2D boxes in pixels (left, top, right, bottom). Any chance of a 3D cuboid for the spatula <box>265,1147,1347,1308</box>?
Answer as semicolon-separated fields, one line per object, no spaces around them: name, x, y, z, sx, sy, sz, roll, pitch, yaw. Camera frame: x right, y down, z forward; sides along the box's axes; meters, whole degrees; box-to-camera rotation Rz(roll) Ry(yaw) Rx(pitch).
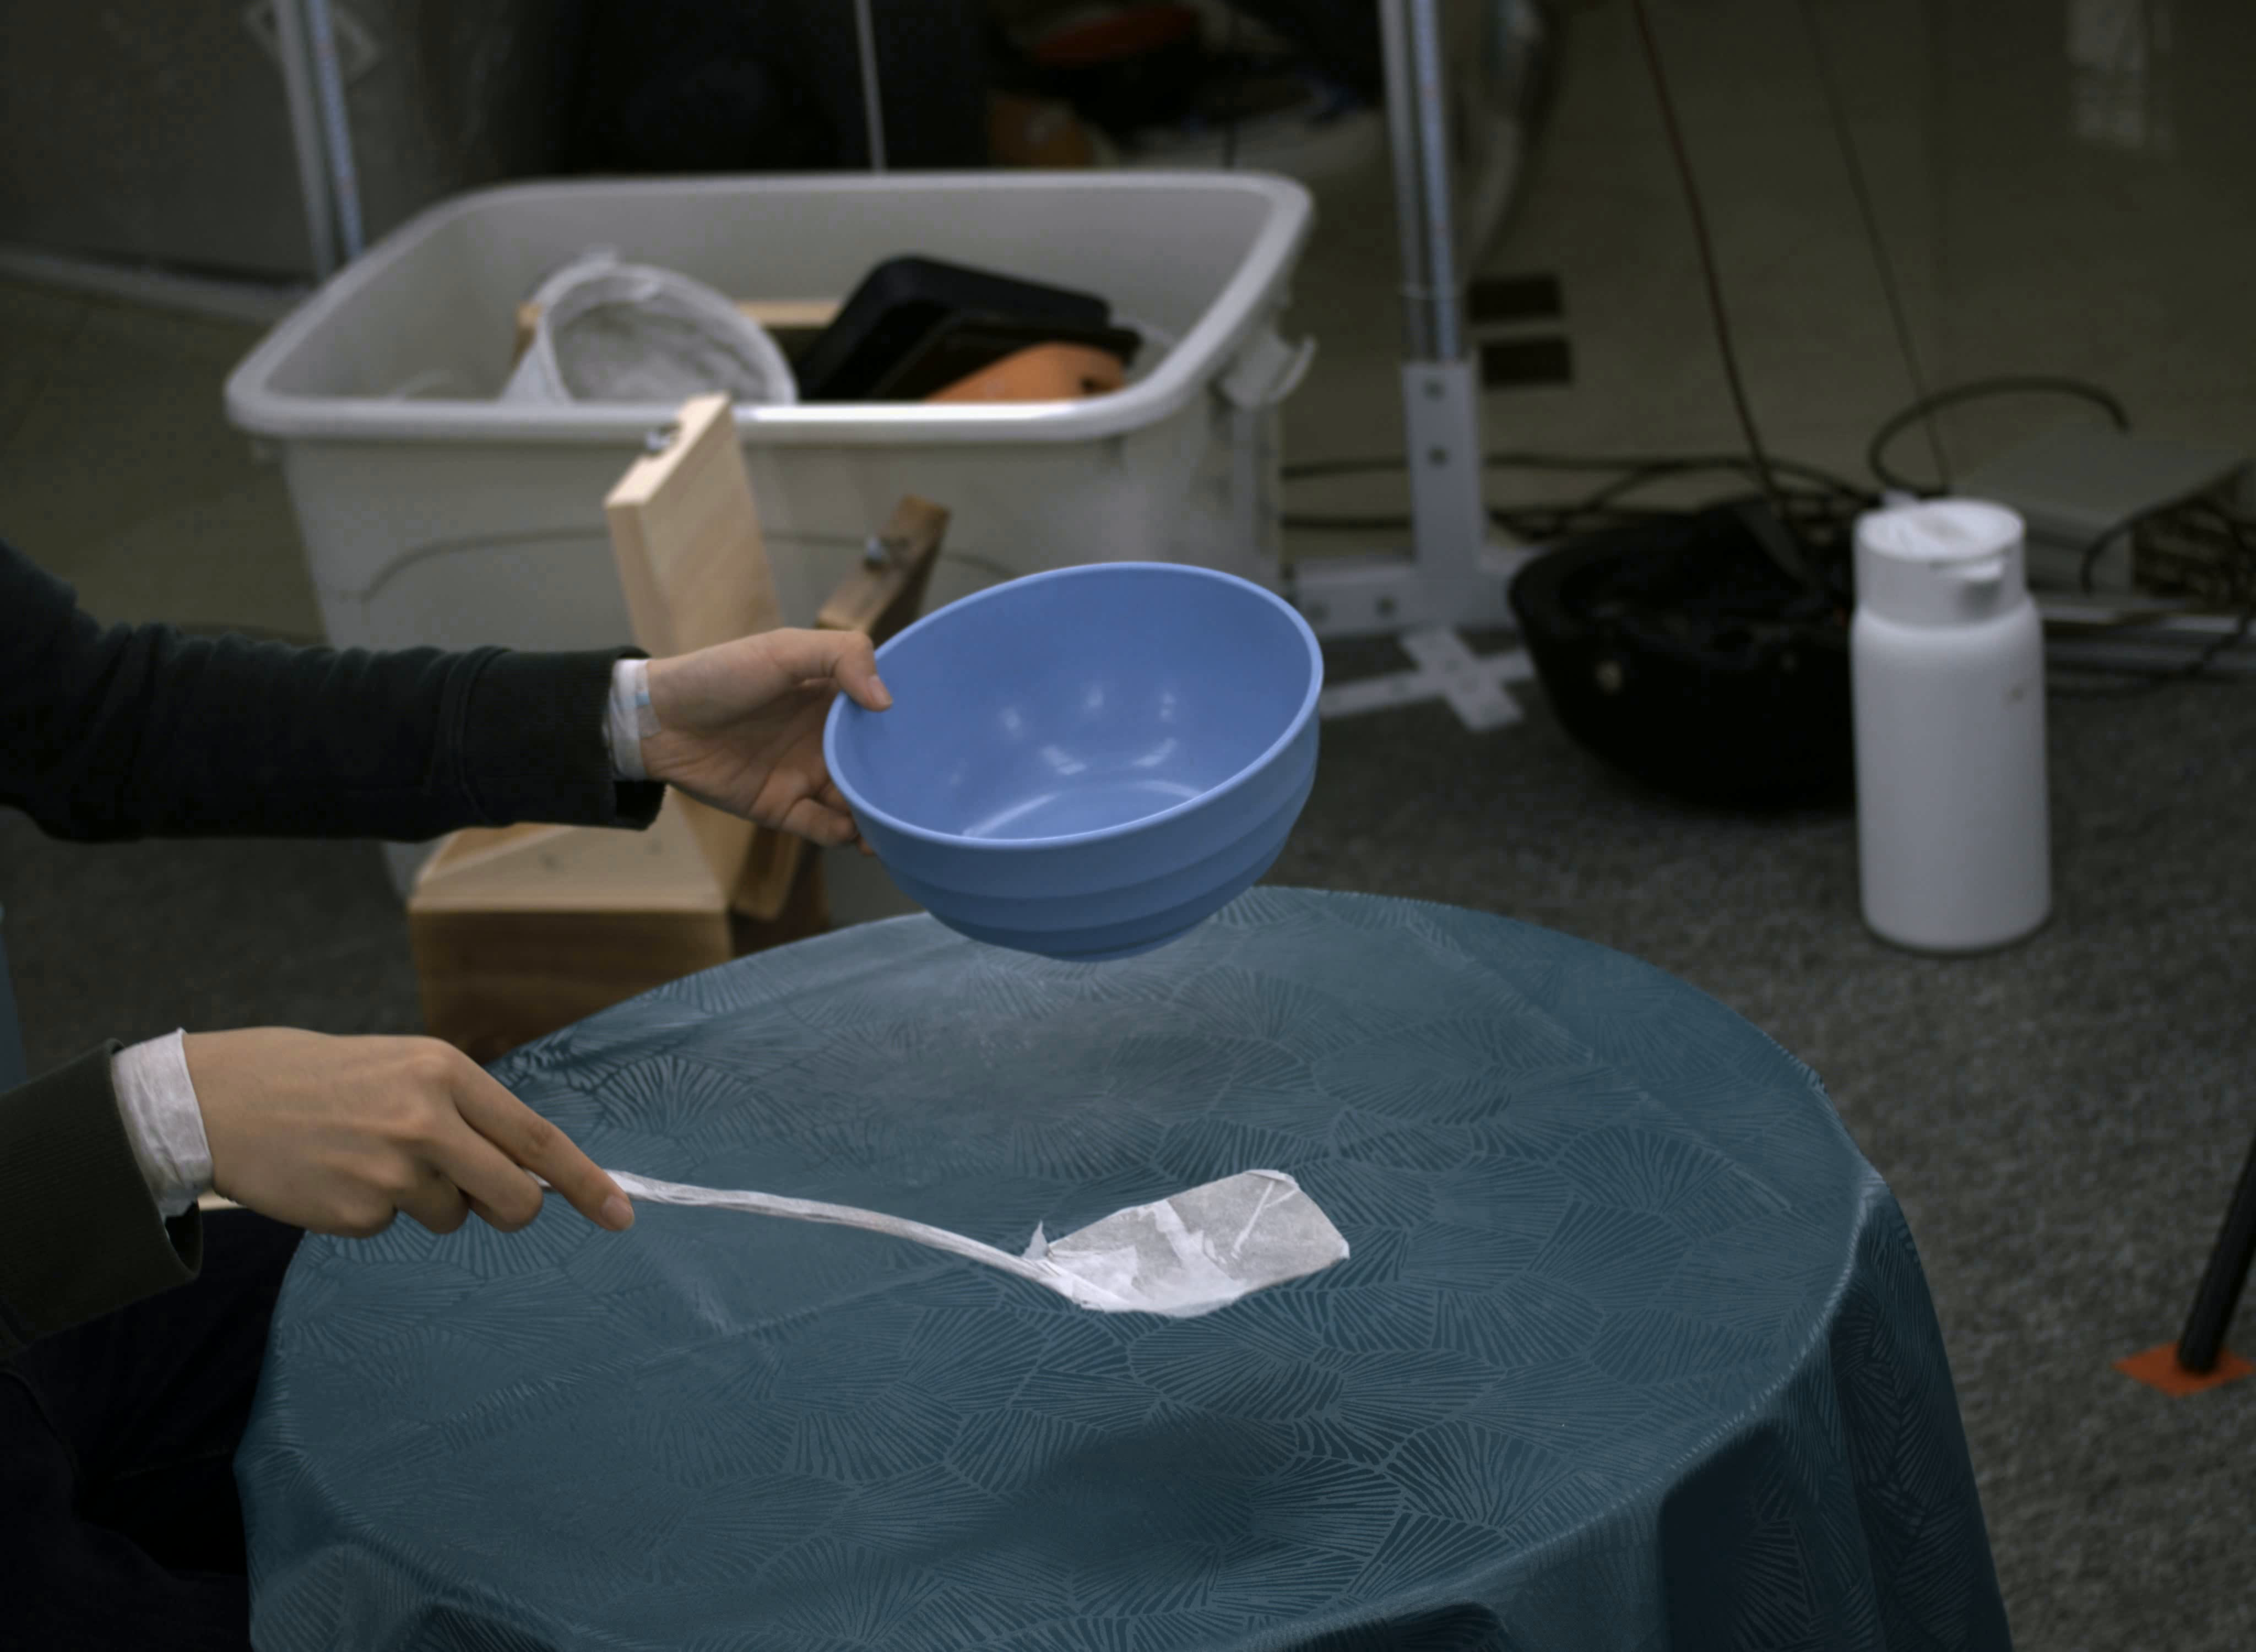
spatula;-0.105;0.124;1.906;0.365;0.045;0.097;9;16;-16

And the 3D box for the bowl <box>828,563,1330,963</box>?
bowl;-0.013;-0.011;2.207;0.196;0.097;0.193;-7;35;5
